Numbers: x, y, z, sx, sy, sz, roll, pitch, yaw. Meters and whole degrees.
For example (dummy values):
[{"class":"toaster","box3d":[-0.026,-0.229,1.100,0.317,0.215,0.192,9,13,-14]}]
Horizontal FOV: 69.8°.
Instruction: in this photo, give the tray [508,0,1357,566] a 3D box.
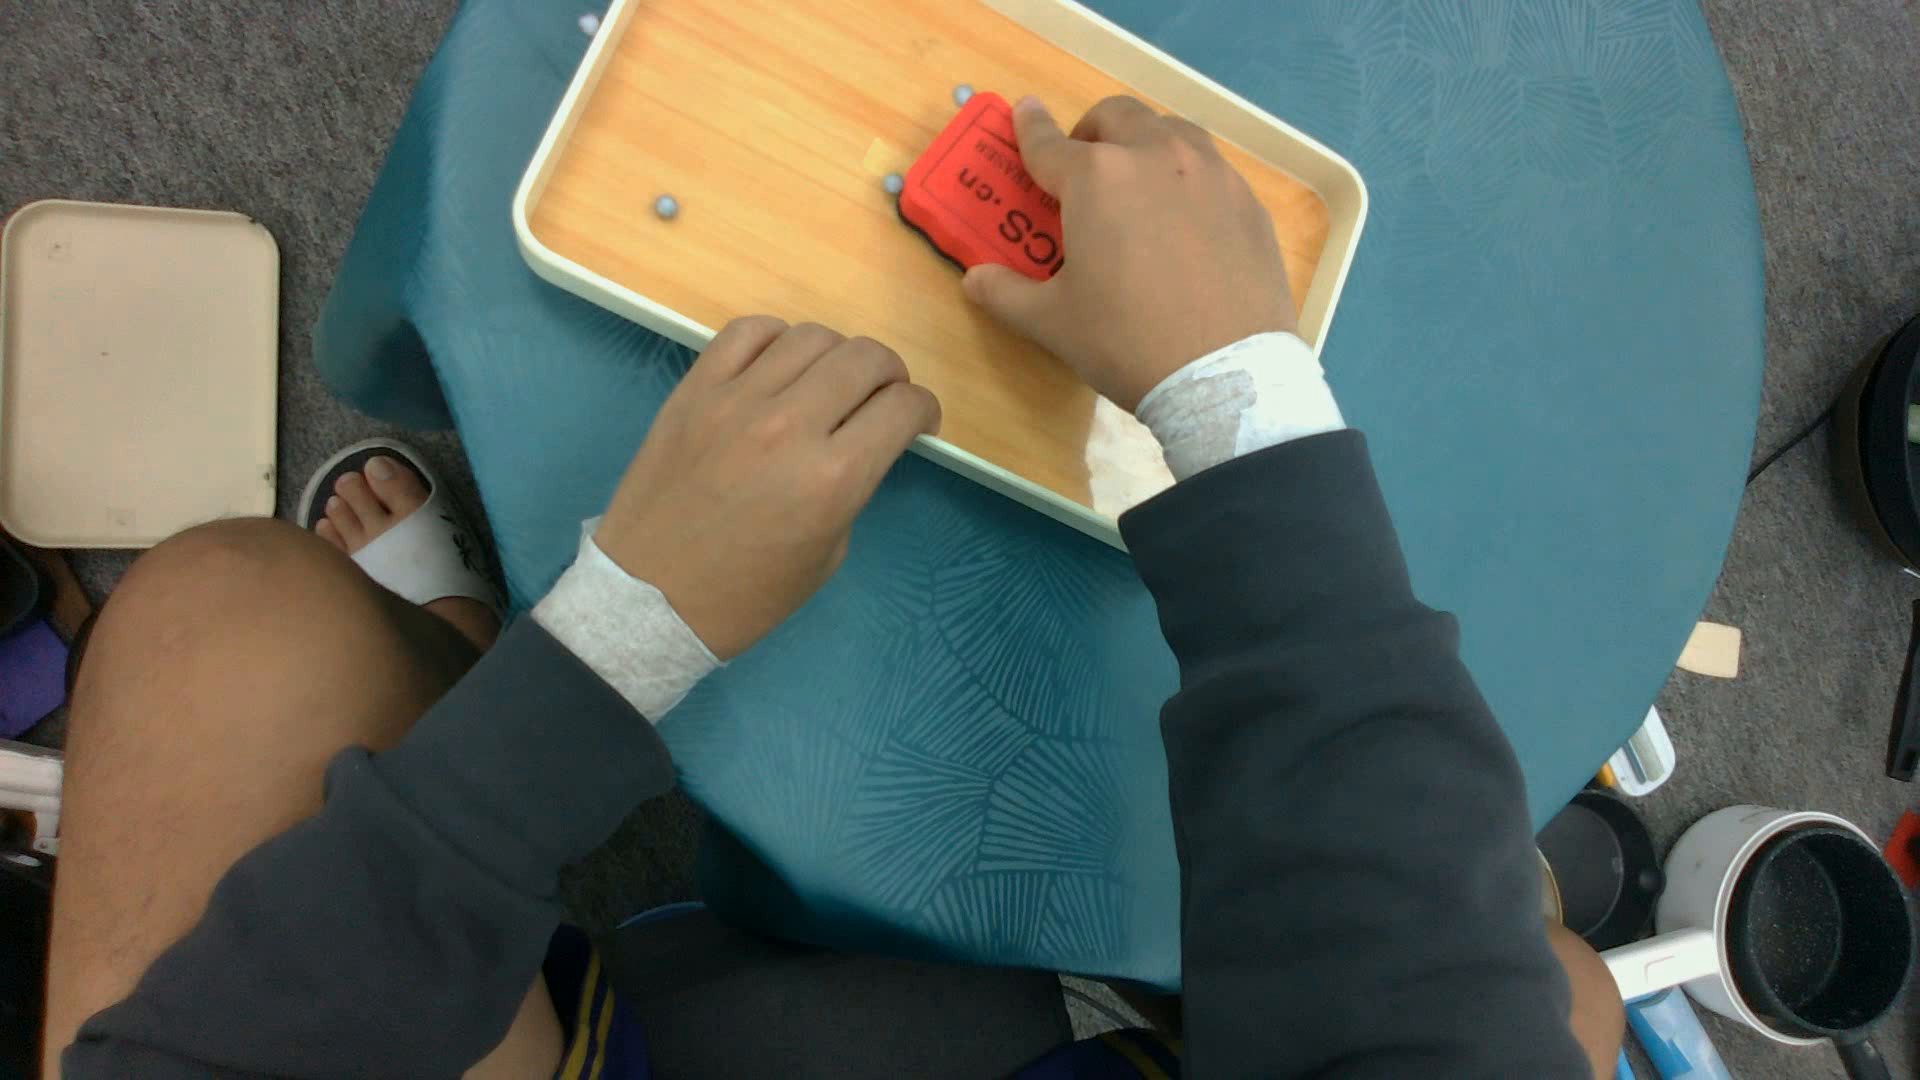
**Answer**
[{"class":"tray","box3d":[0.003,-0.130,0.534,0.300,0.027,0.192,25,75,-13]}]

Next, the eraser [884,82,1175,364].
[{"class":"eraser","box3d":[0.027,-0.122,0.531,0.108,0.023,0.059,39,70,-6]}]
